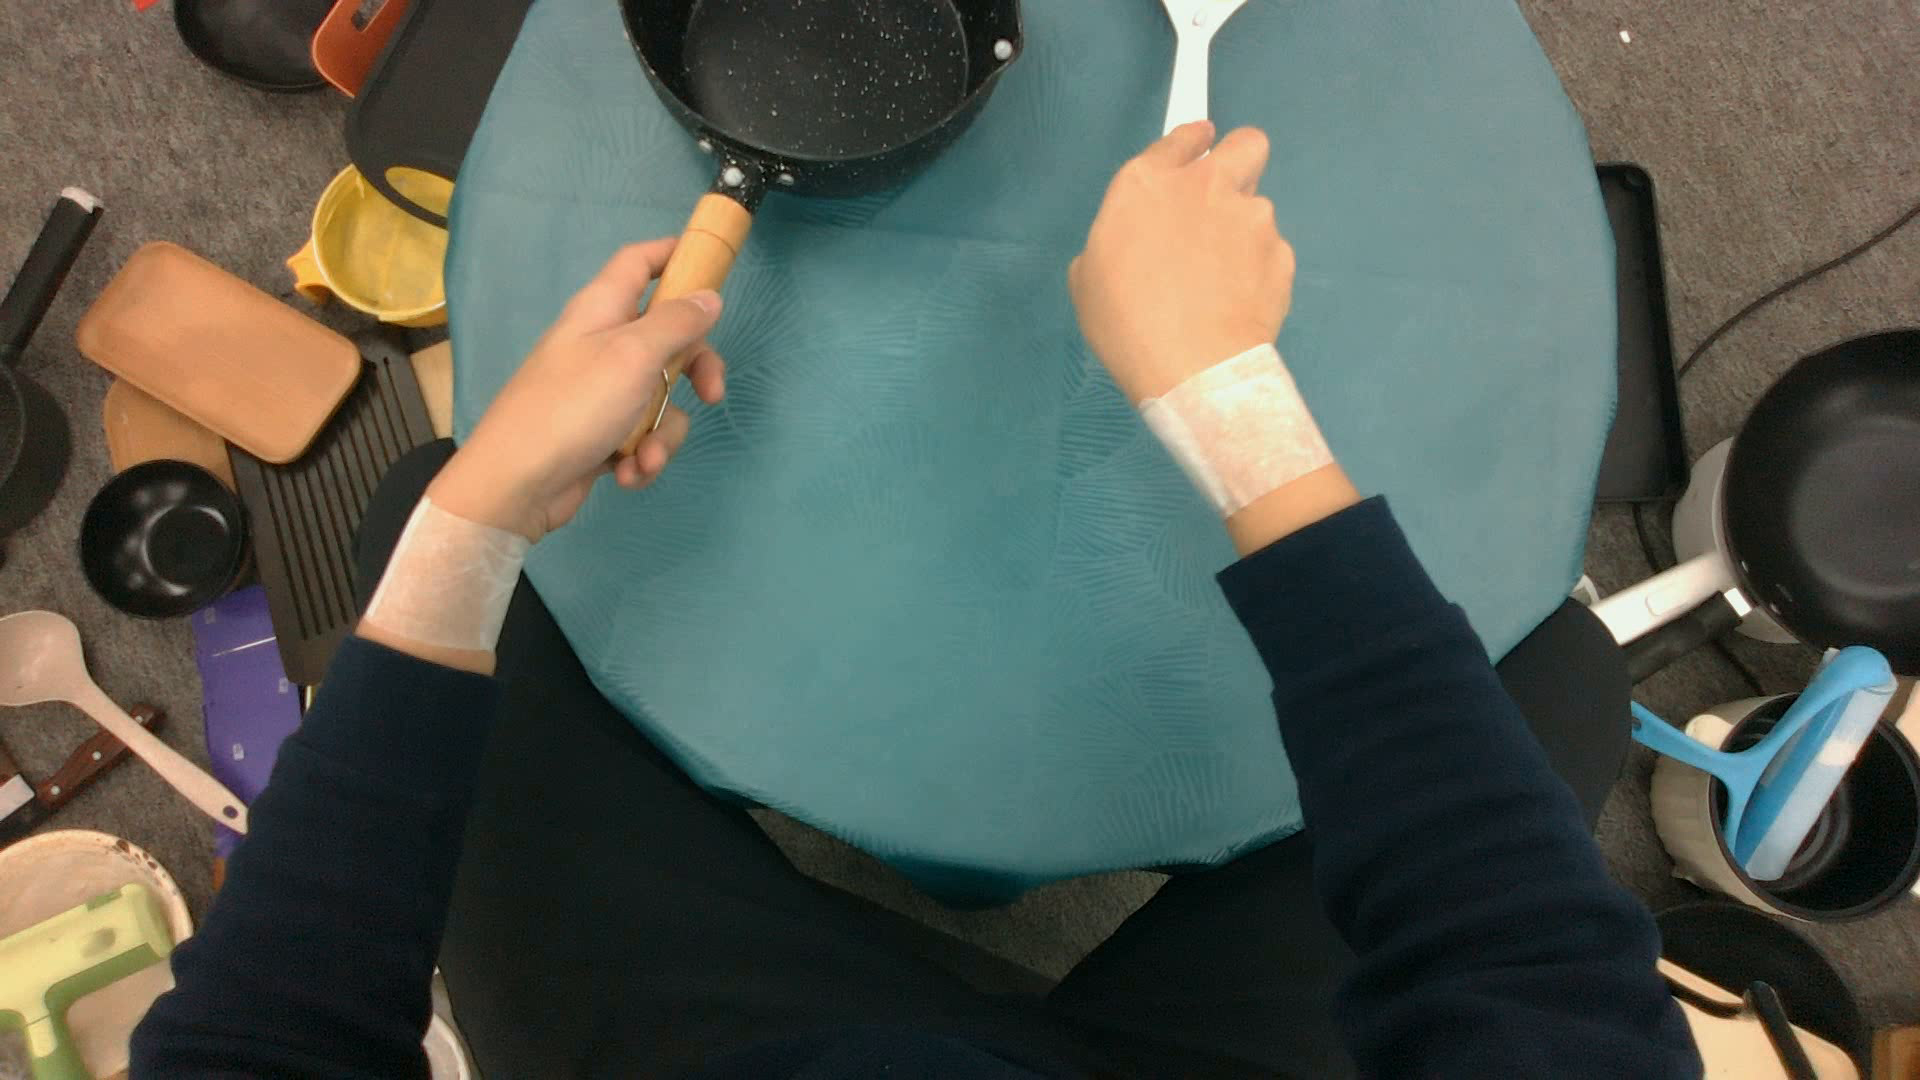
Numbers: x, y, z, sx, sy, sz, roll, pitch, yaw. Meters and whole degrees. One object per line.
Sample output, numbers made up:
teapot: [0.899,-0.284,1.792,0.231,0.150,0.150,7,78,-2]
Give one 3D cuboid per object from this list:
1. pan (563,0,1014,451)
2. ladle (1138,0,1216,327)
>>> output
pan: [-0.098,-0.189,0.650,0.207,0.108,0.343,20,79,-1]
ladle: [0.109,-0.226,0.642,0.090,0.069,0.294,16,52,-13]
